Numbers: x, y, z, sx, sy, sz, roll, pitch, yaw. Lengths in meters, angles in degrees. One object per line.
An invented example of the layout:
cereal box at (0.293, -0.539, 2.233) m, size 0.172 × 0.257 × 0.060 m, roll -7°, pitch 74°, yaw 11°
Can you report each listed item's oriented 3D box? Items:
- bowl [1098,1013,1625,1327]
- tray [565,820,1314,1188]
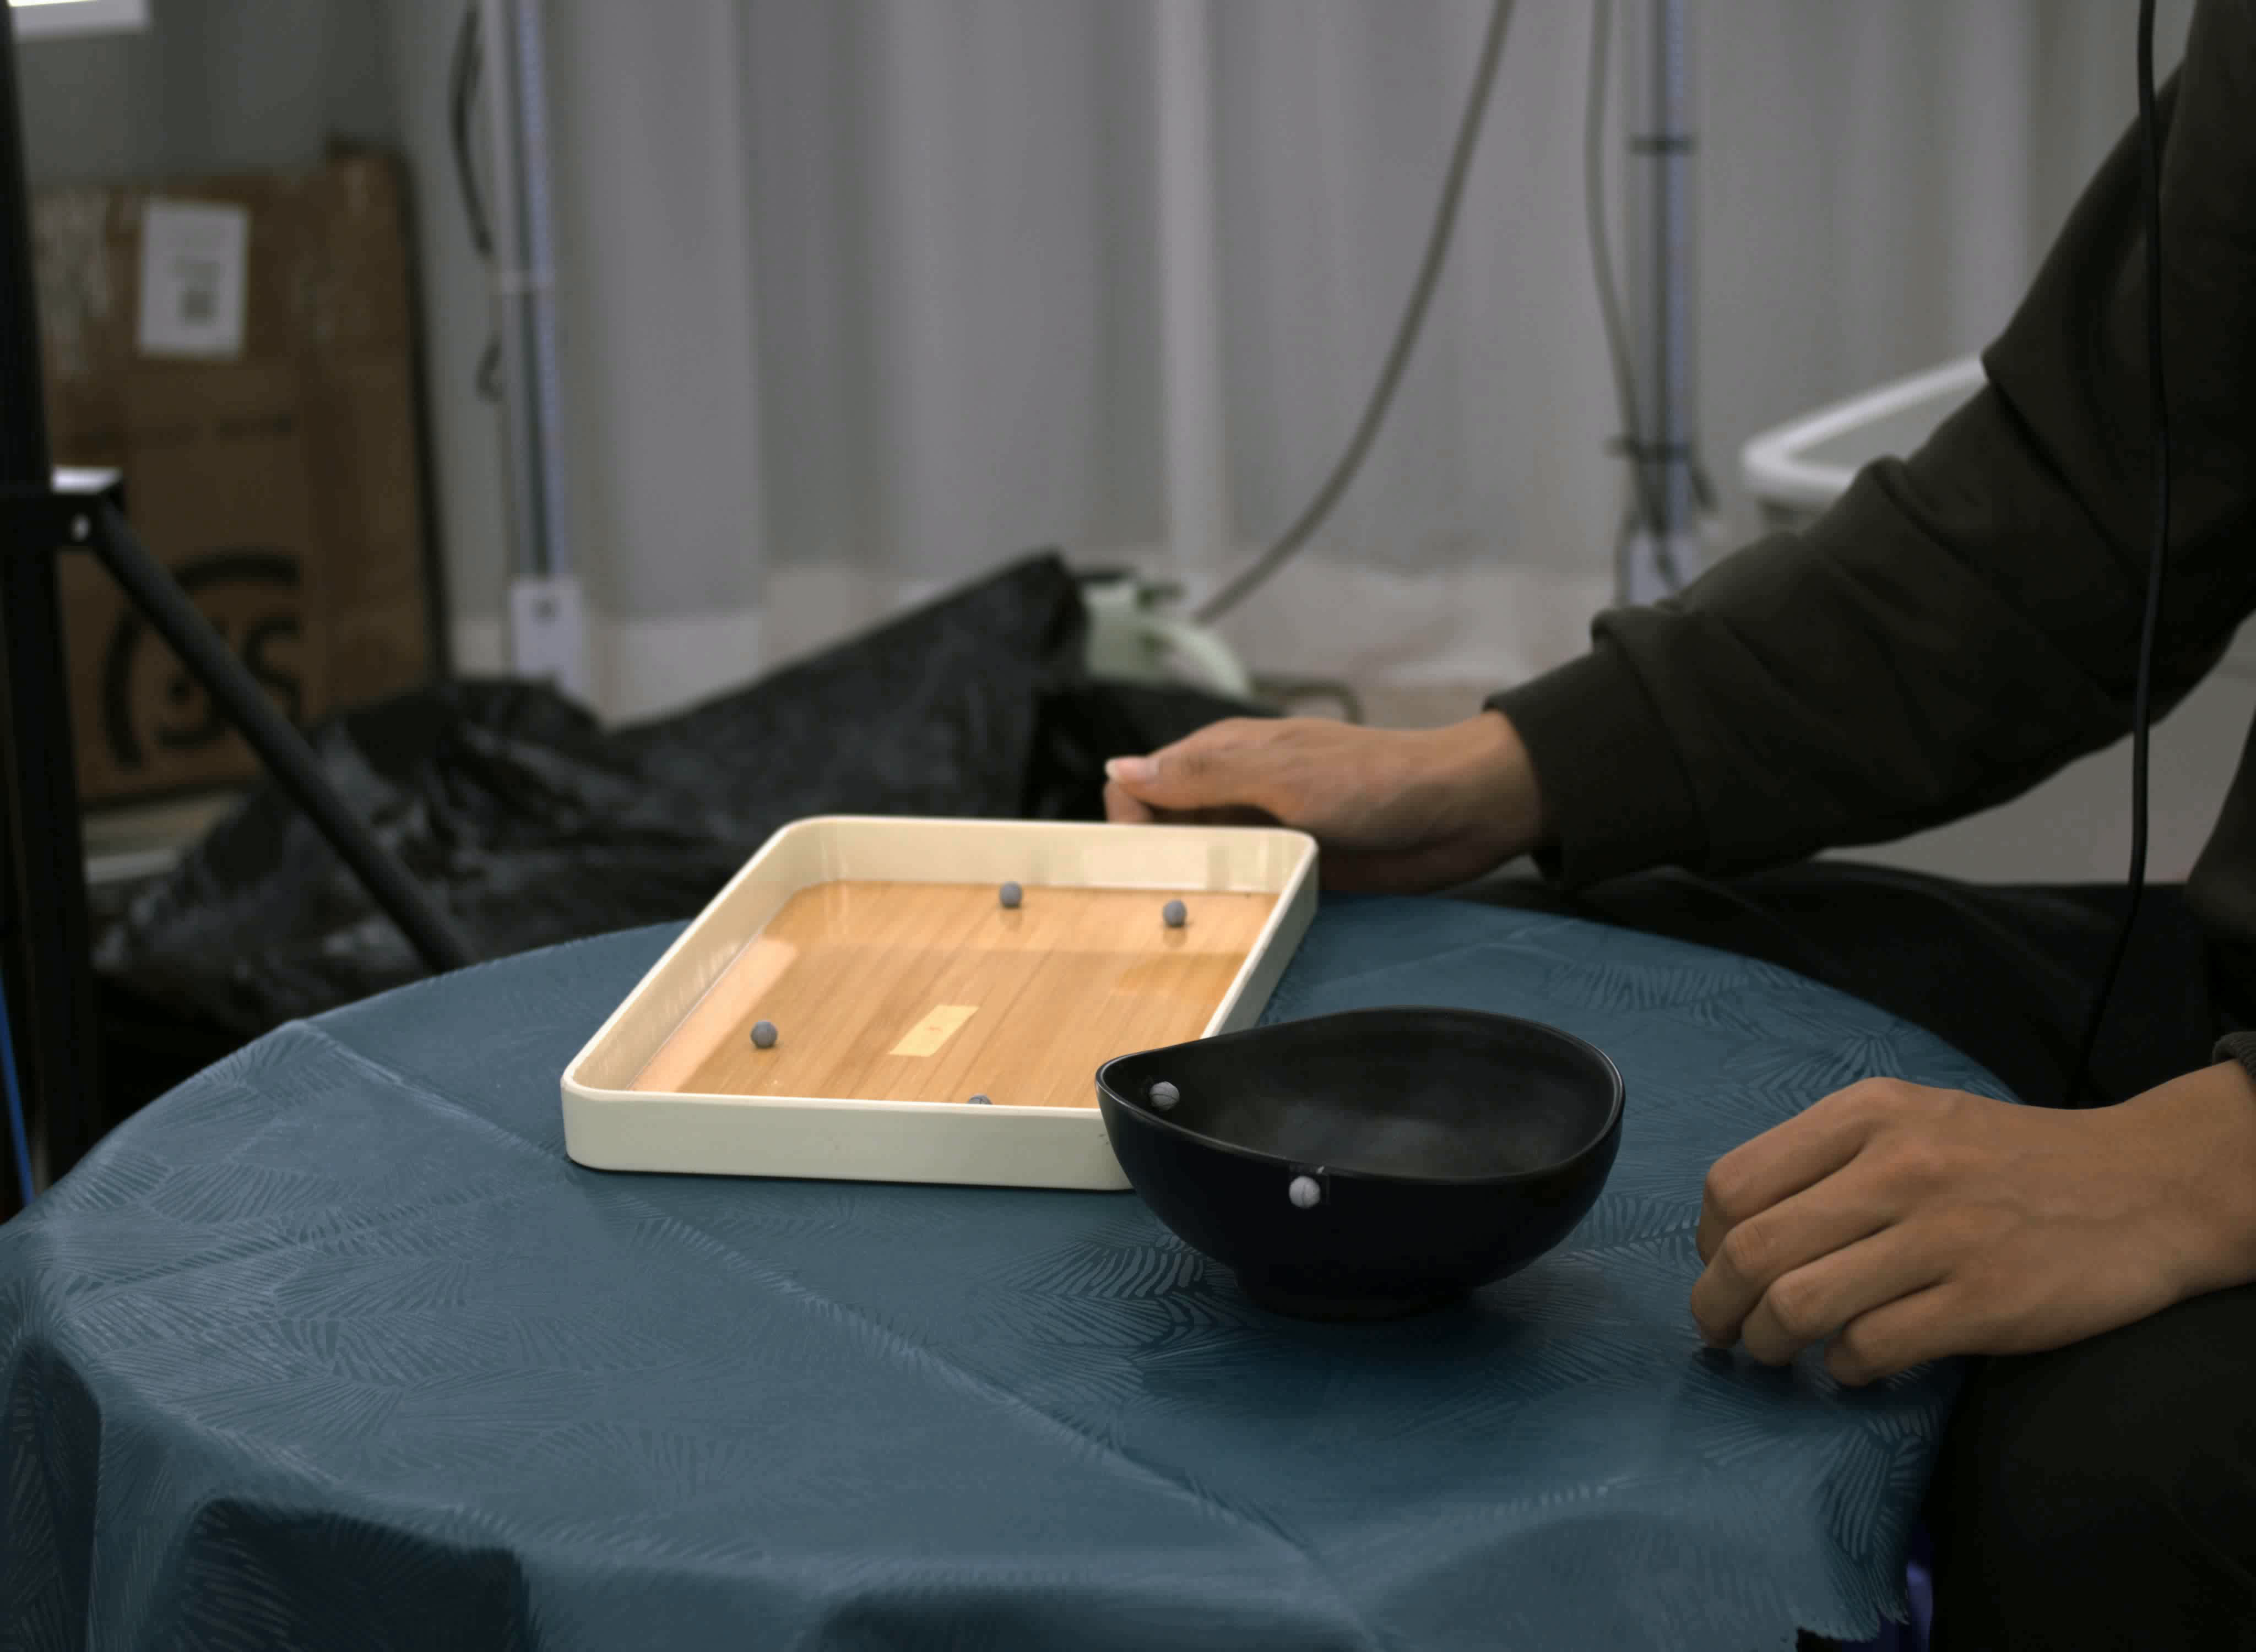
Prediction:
bowl at (0.063, 0.099, 1.472) m, size 0.134 × 0.067 × 0.174 m, roll -10°, pitch 16°, yaw -30°
tray at (-0.052, 0.053, 1.713) m, size 0.192 × 0.027 × 0.299 m, roll 1°, pitch 16°, yaw 12°
